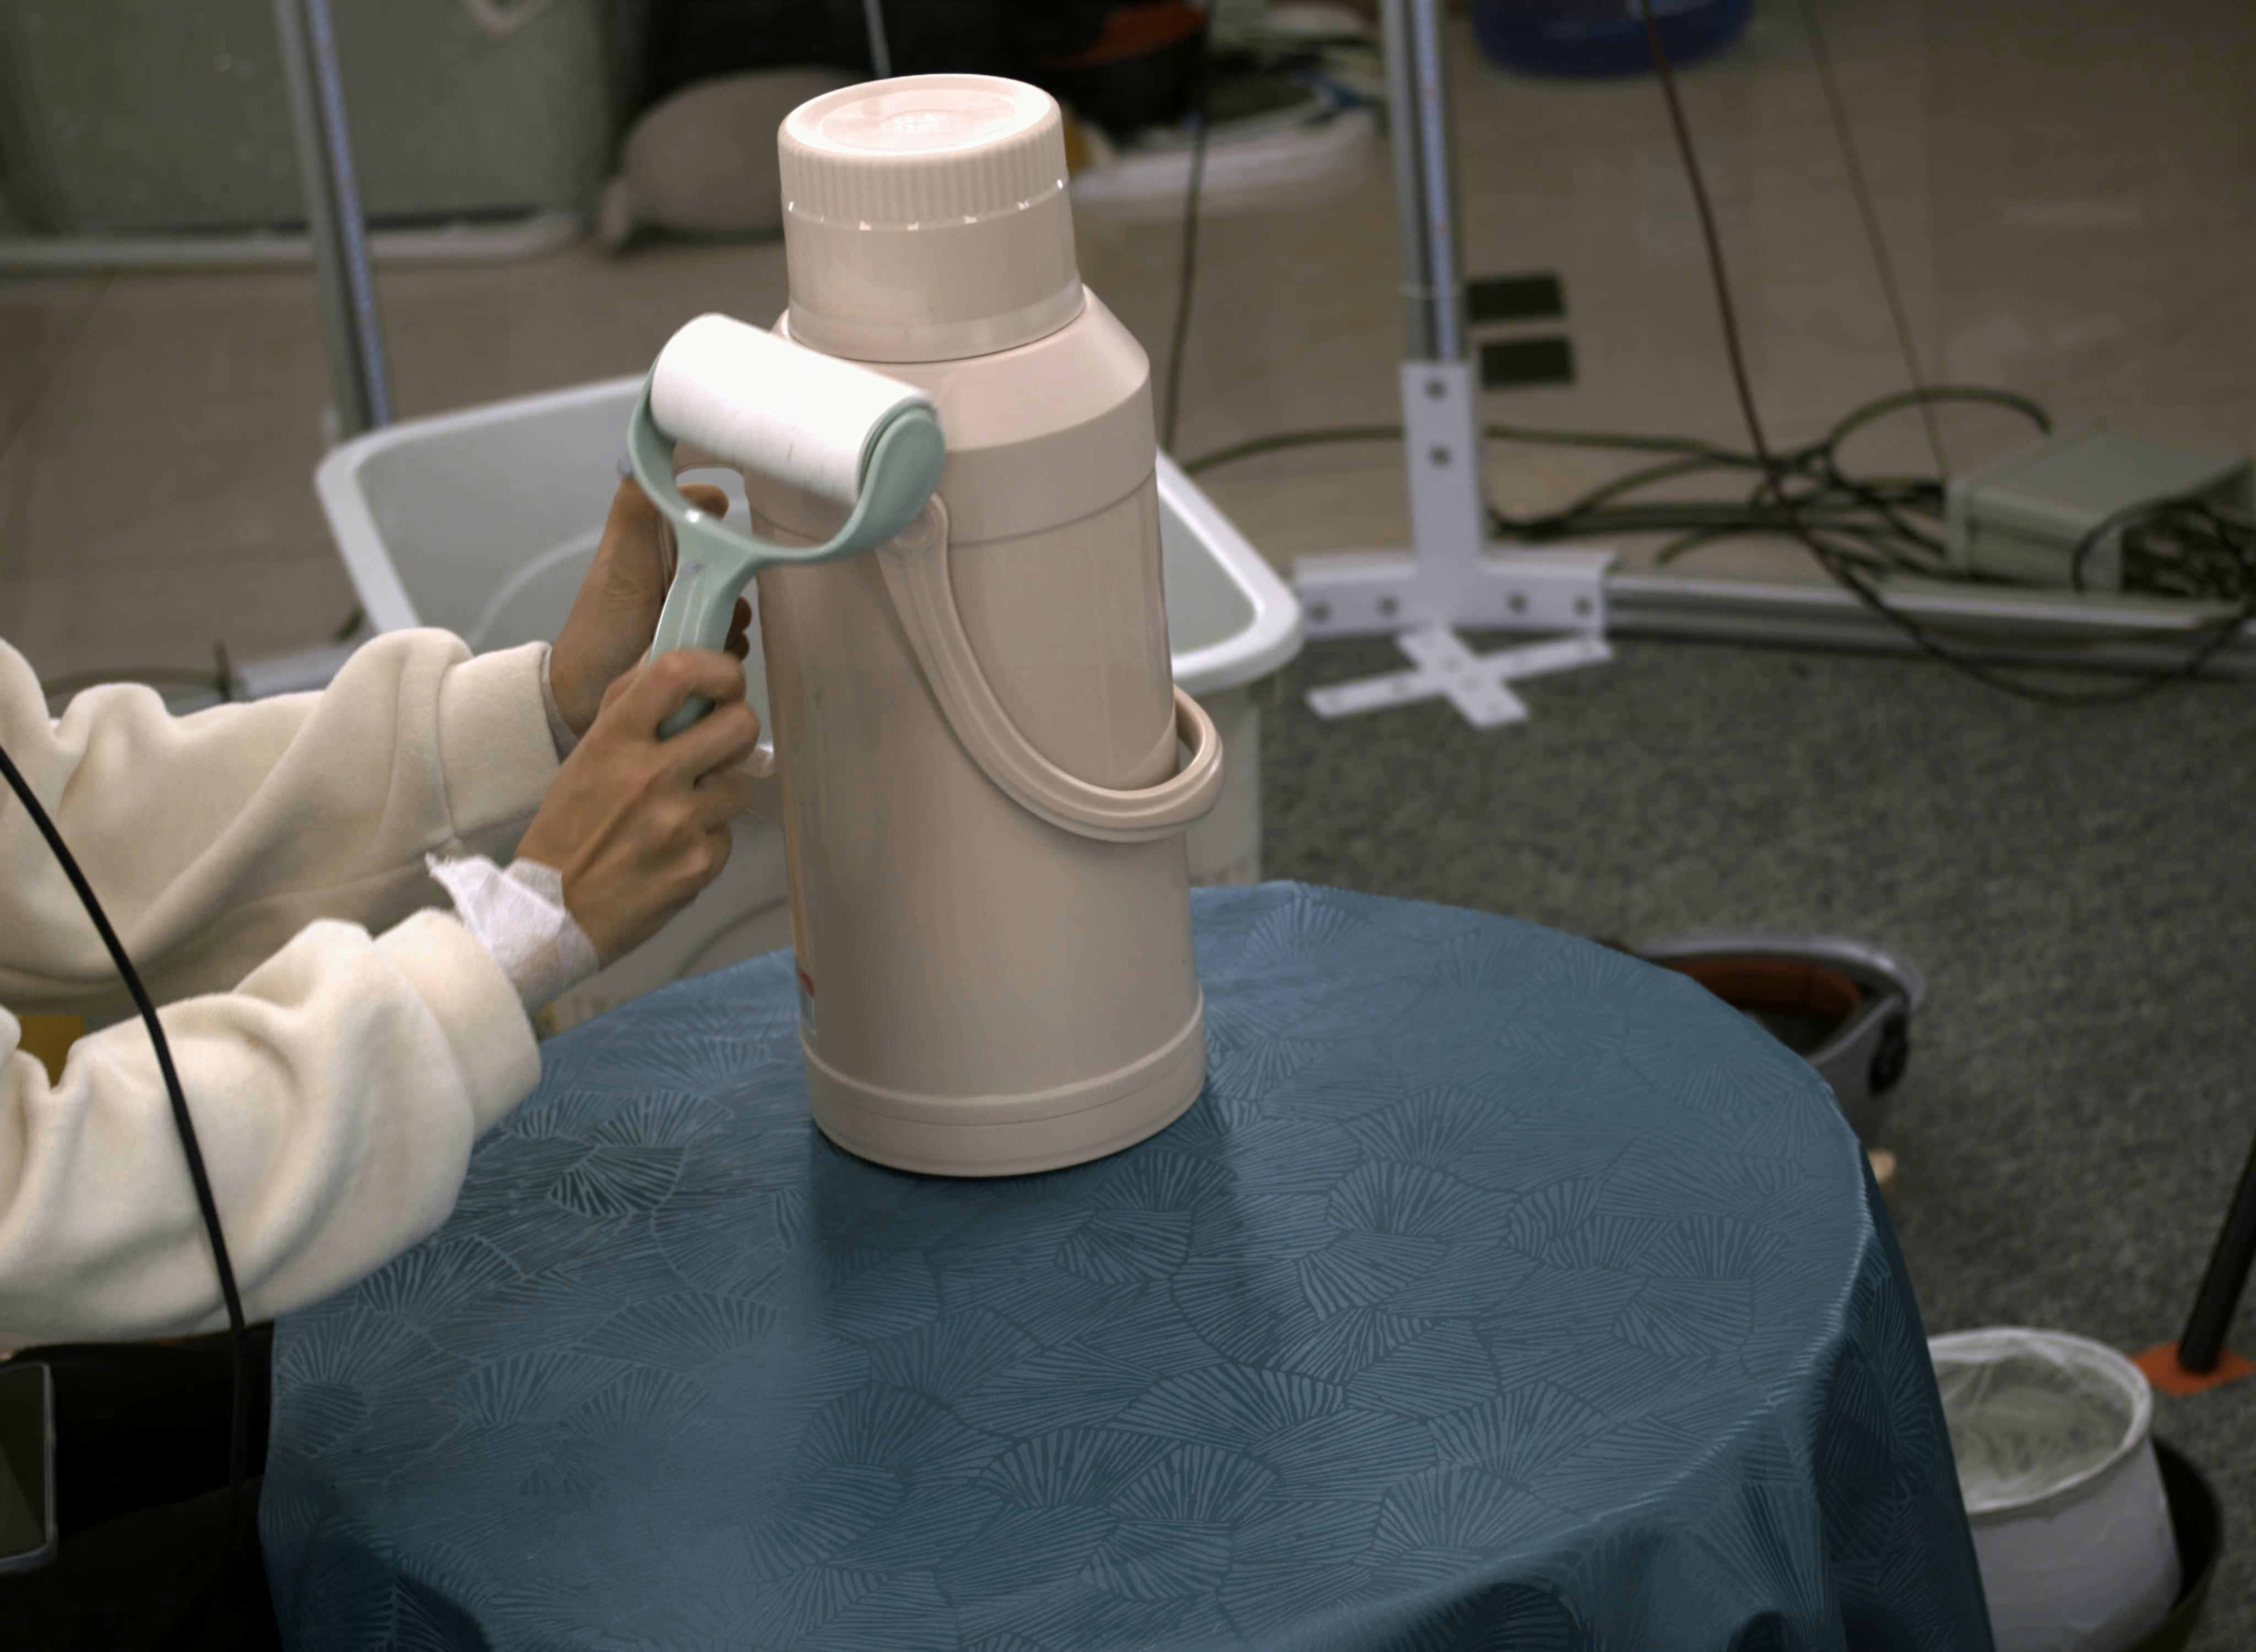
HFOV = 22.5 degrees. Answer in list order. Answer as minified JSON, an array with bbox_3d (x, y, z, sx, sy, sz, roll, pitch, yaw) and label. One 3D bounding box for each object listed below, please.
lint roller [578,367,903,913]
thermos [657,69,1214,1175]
[{"bbox_3d":[-0.147,-0.069,2.028,0.116,0.197,0.049,5,-4,25],"label":"lint roller"},{"bbox_3d":[-0.075,-0.078,2.150,0.206,0.413,0.173,-1,26,9],"label":"thermos"}]
